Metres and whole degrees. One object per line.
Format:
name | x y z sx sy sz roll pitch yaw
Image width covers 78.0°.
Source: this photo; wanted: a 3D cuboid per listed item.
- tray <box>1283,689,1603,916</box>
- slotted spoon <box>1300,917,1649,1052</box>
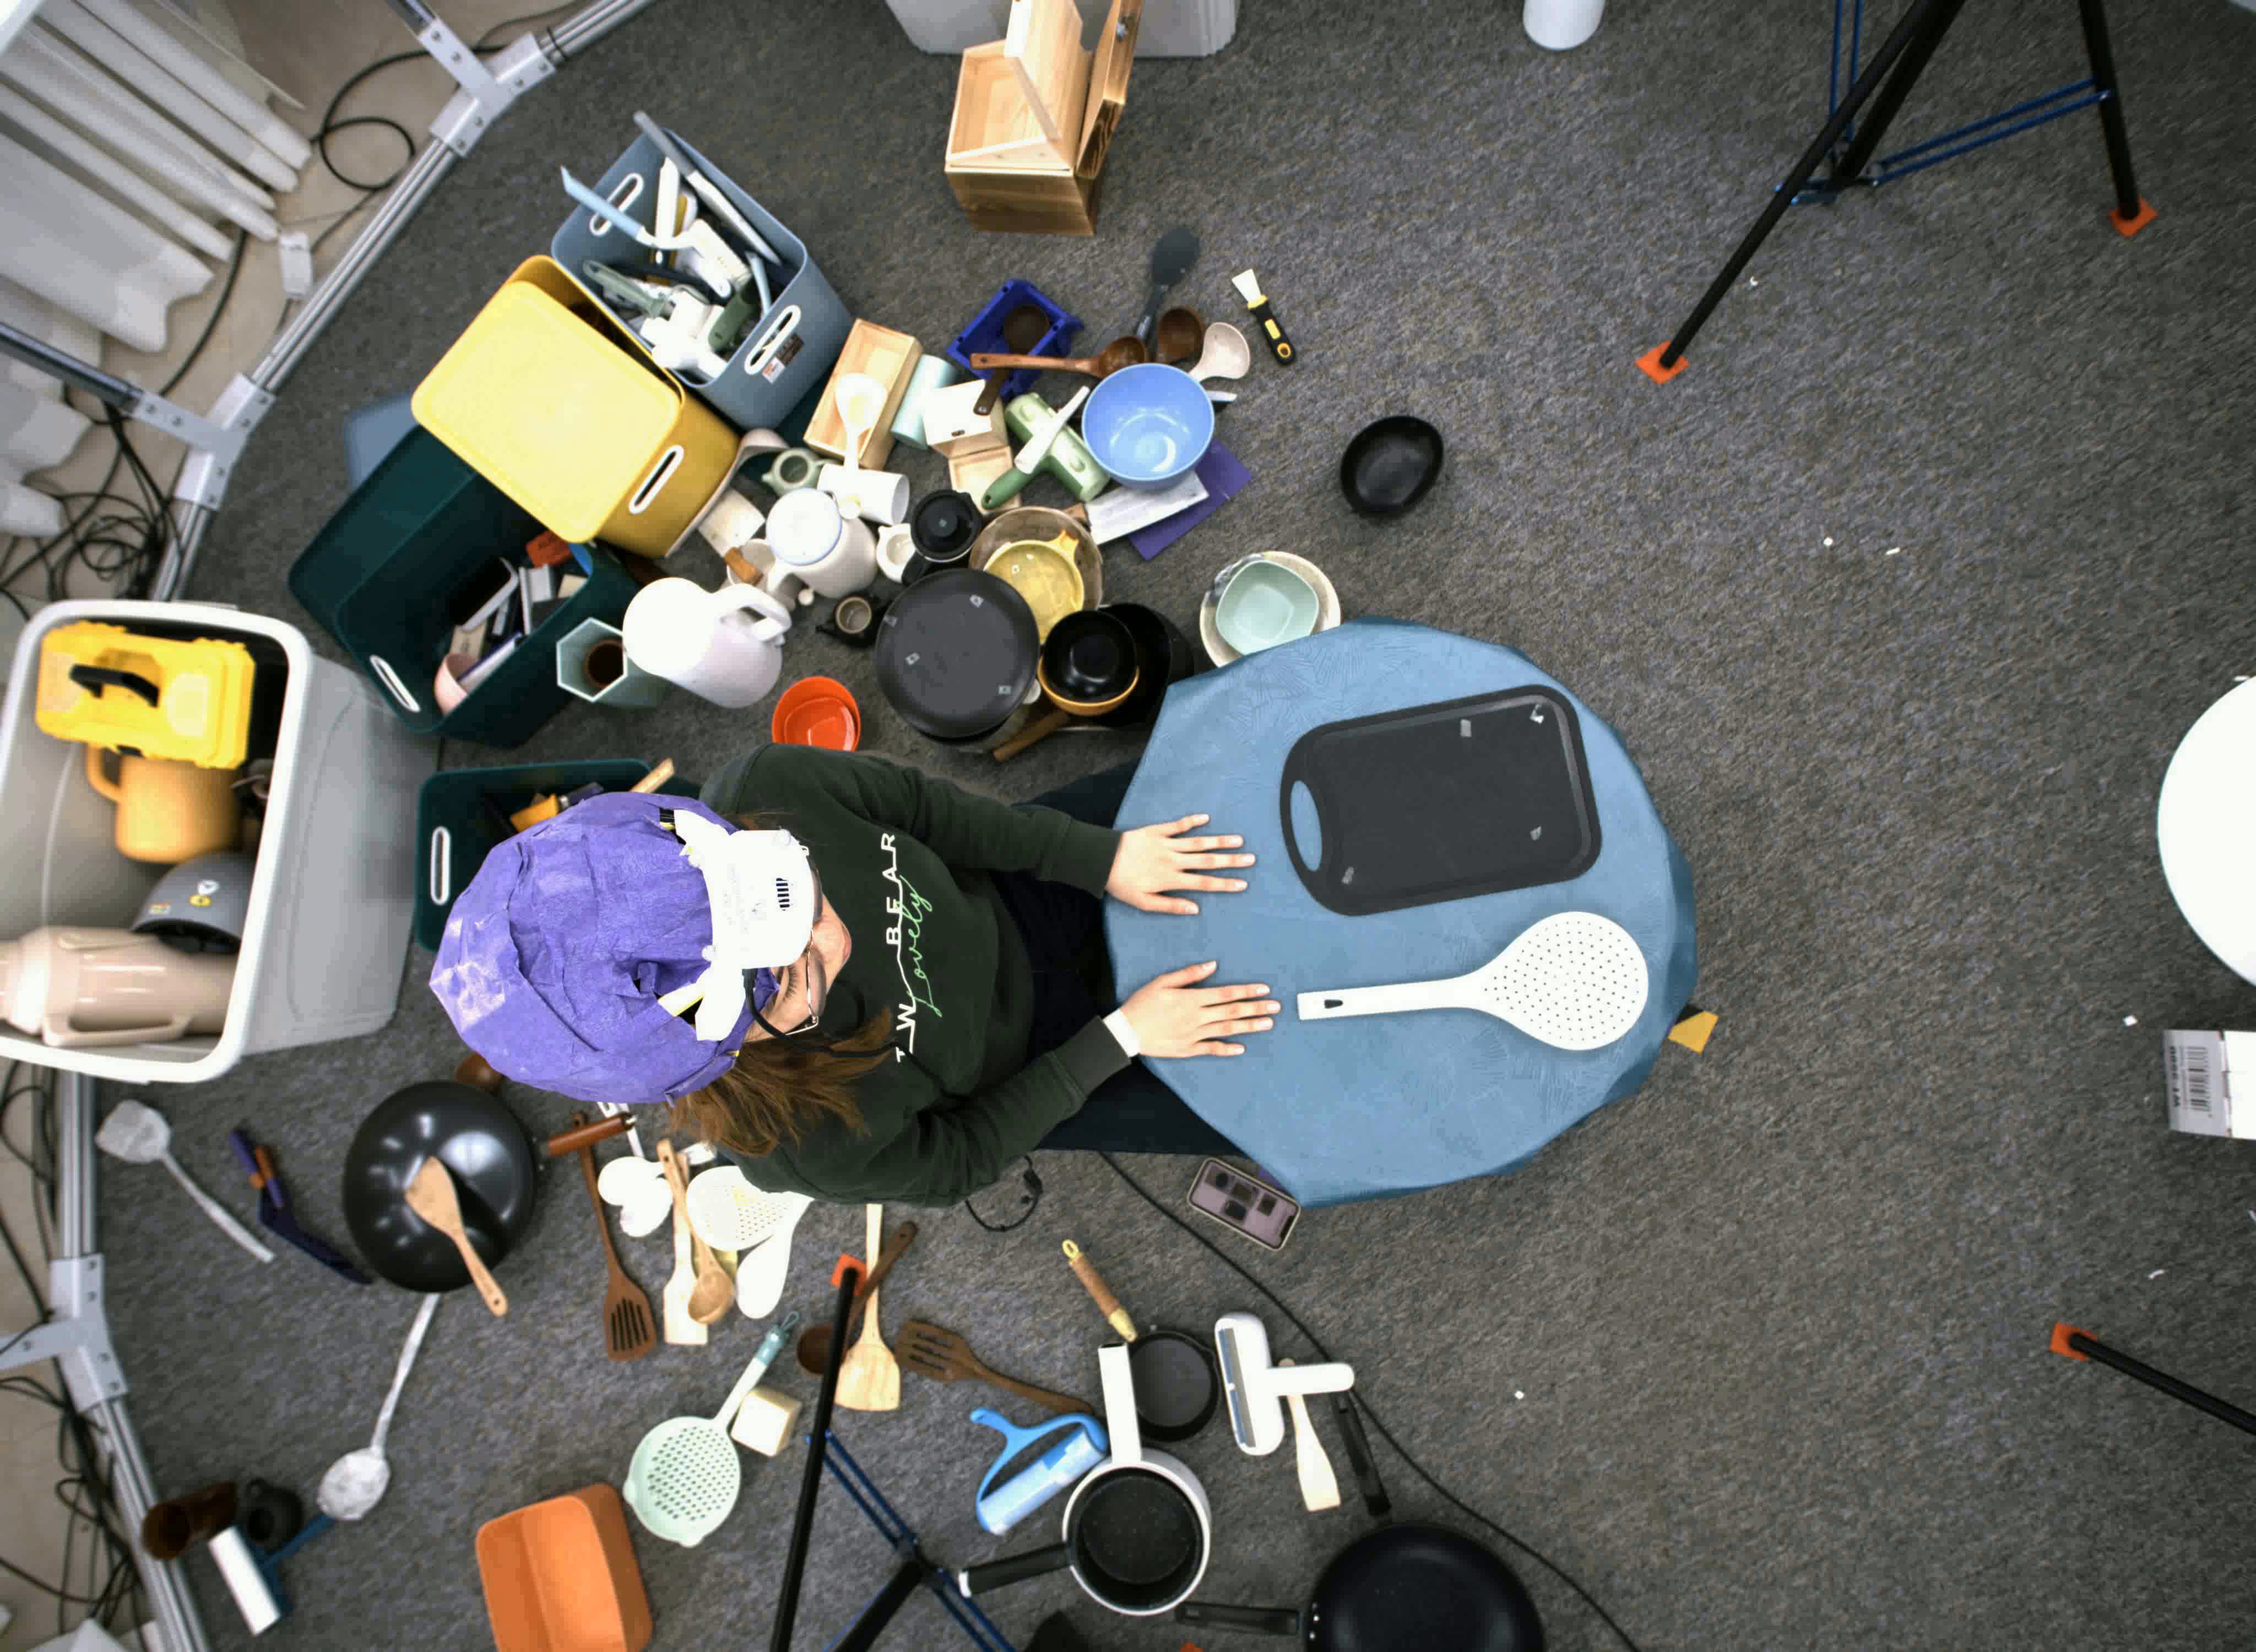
tray | 0.327 -0.024 1.457 0.327 0.010 0.210 -10 84 10
slotted spoon | 0.351 0.171 1.420 0.351 0.046 0.135 -6 82 11
